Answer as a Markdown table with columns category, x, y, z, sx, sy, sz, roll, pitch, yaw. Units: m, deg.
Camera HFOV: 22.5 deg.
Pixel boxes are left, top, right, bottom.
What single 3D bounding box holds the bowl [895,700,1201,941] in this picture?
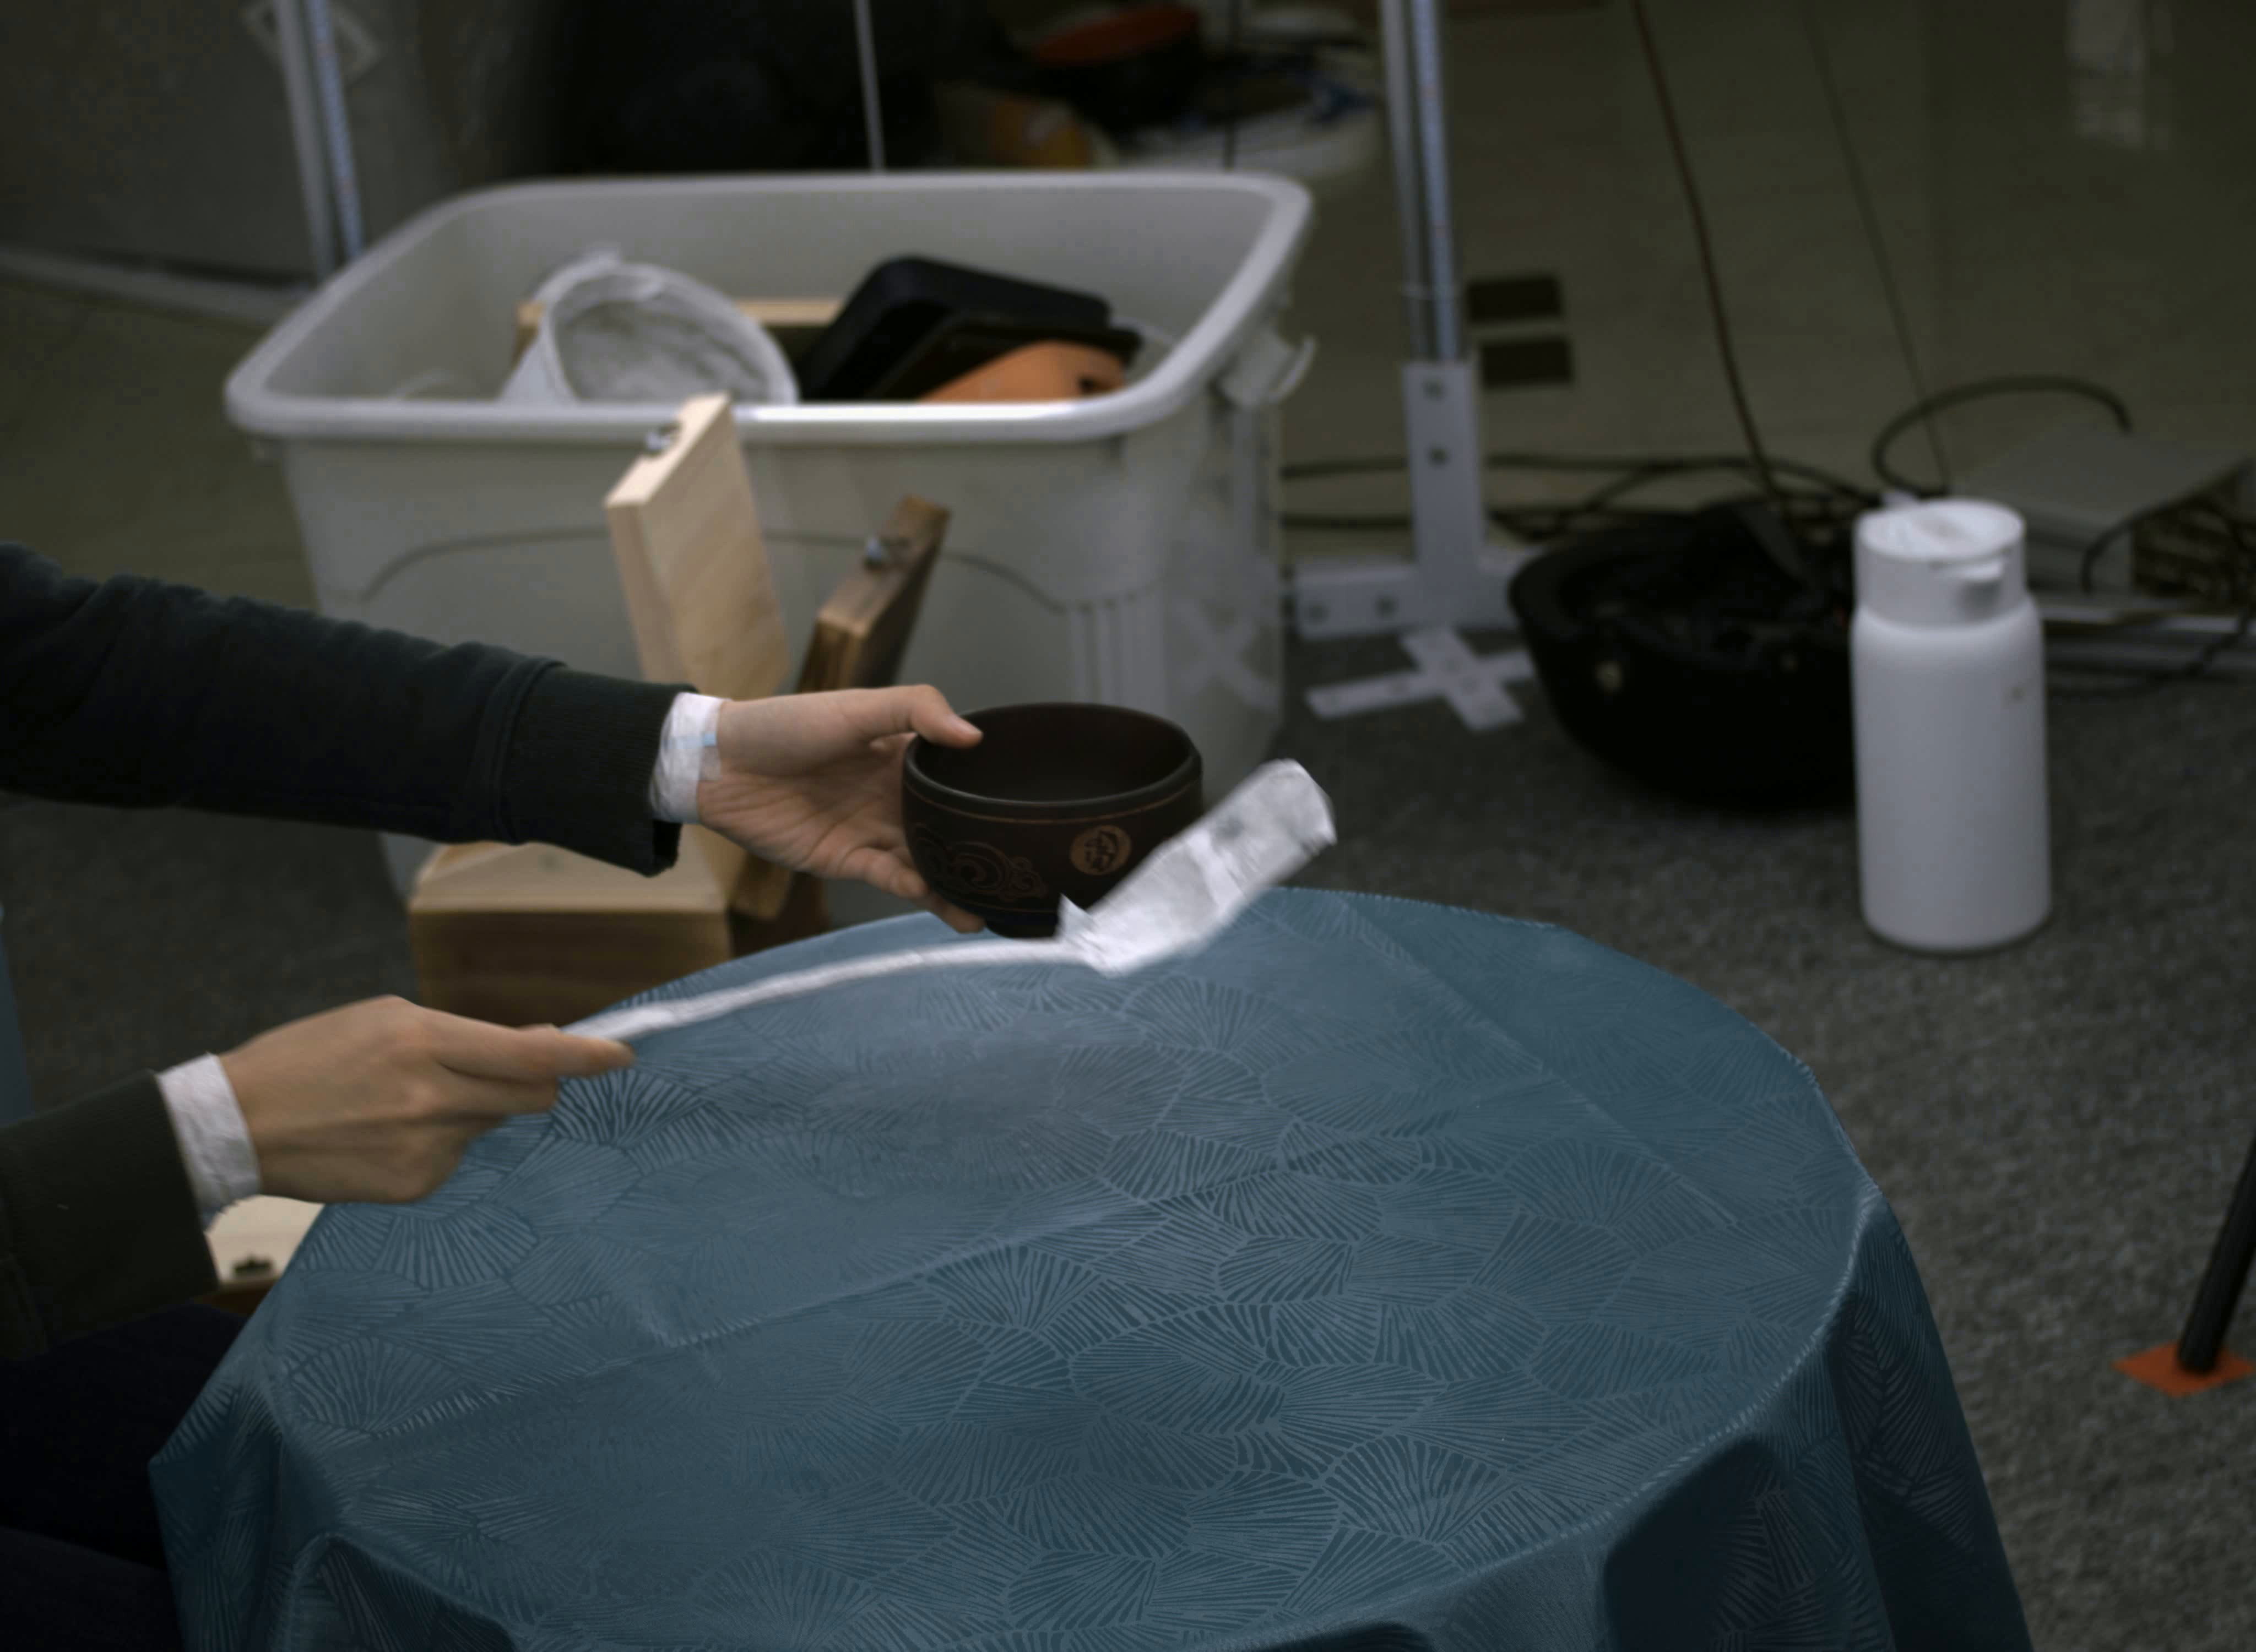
| category | x | y | z | sx | sy | sz | roll | pitch | yaw |
| --- | --- | --- | --- | --- | --- | --- | --- | --- | --- |
| bowl | -0.030 | 0.002 | 2.174 | 0.118 | 0.071 | 0.116 | -1 | 20 | 1 |

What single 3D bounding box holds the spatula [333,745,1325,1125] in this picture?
| category | x | y | z | sx | sy | sz | roll | pitch | yaw |
| --- | --- | --- | --- | --- | --- | --- | --- | --- | --- |
| spatula | -0.106 | 0.045 | 1.962 | 0.364 | 0.045 | 0.097 | -13 | 21 | 0 |
